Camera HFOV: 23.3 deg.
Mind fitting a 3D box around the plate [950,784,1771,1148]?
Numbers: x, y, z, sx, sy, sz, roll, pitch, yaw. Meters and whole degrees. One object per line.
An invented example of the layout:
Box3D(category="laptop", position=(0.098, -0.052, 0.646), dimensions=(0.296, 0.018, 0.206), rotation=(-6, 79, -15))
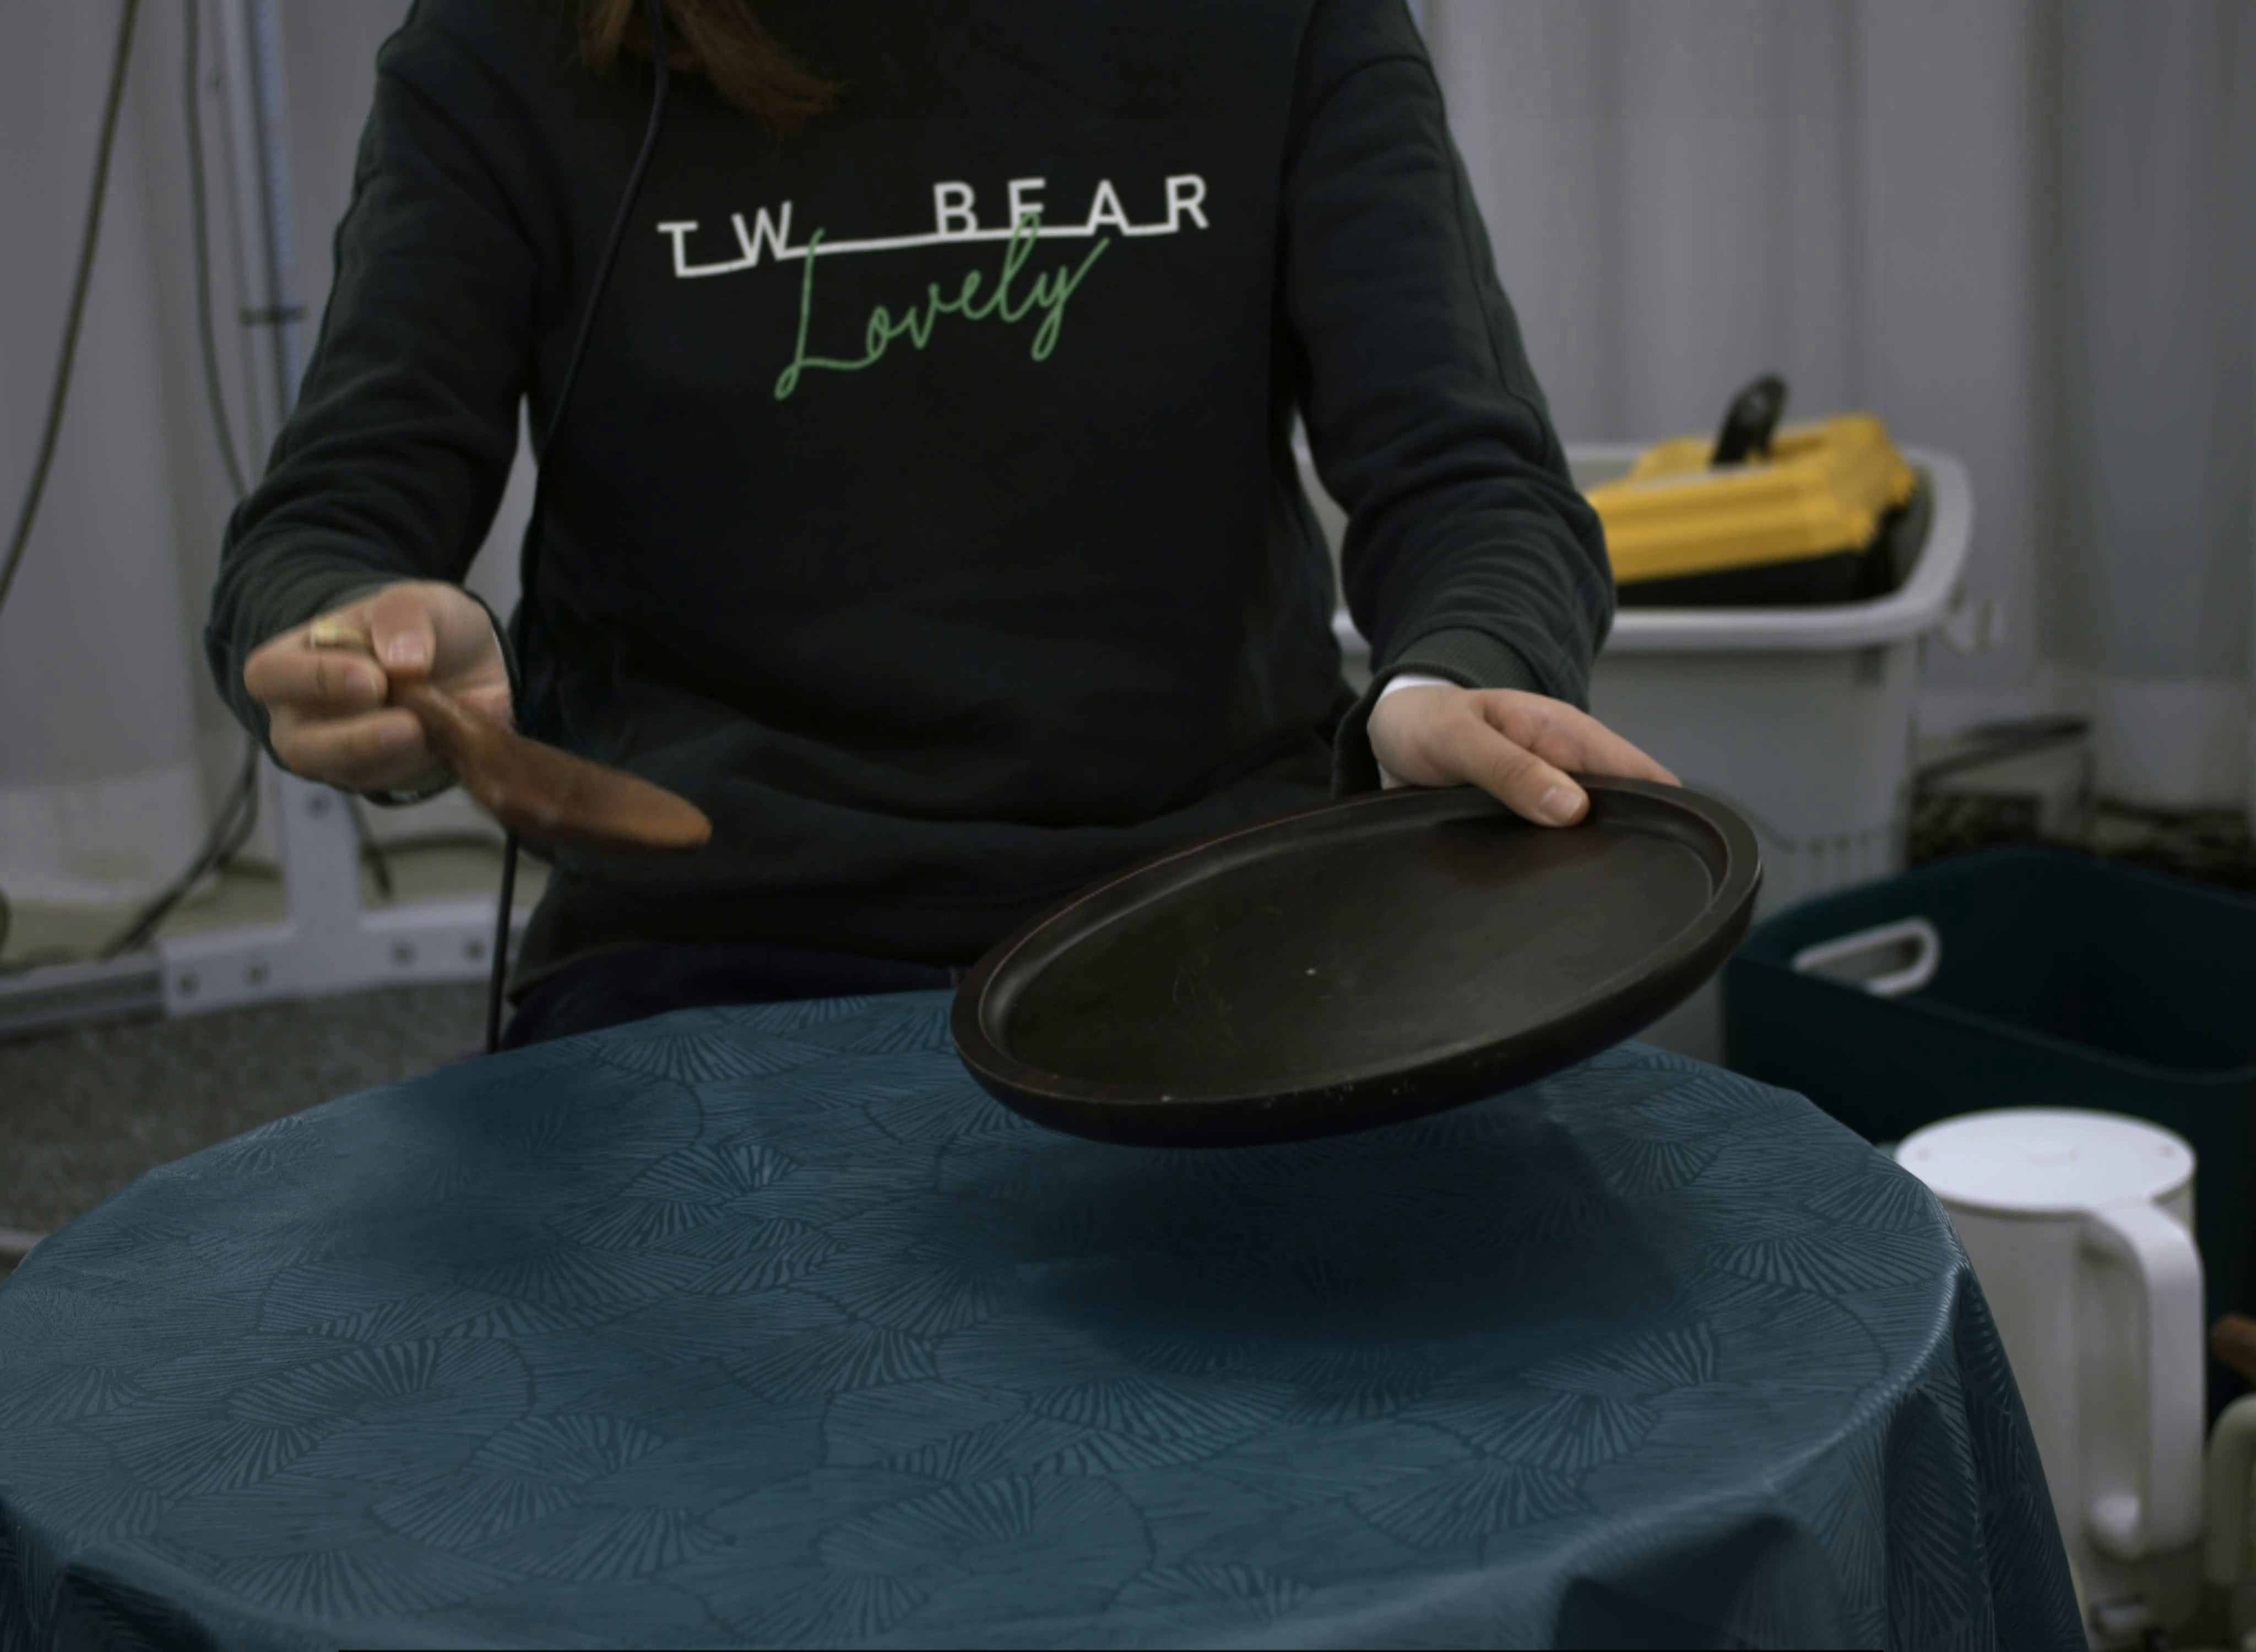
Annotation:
Box3D(category="plate", position=(0.071, 0.040, 1.664), dimensions=(0.254, 0.029, 0.257), rotation=(-12, 19, 4))

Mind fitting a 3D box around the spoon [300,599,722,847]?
Box3D(category="spoon", position=(-0.196, -0.030, 1.667), dimensions=(0.075, 0.017, 0.218), rotation=(7, 15, -38))
